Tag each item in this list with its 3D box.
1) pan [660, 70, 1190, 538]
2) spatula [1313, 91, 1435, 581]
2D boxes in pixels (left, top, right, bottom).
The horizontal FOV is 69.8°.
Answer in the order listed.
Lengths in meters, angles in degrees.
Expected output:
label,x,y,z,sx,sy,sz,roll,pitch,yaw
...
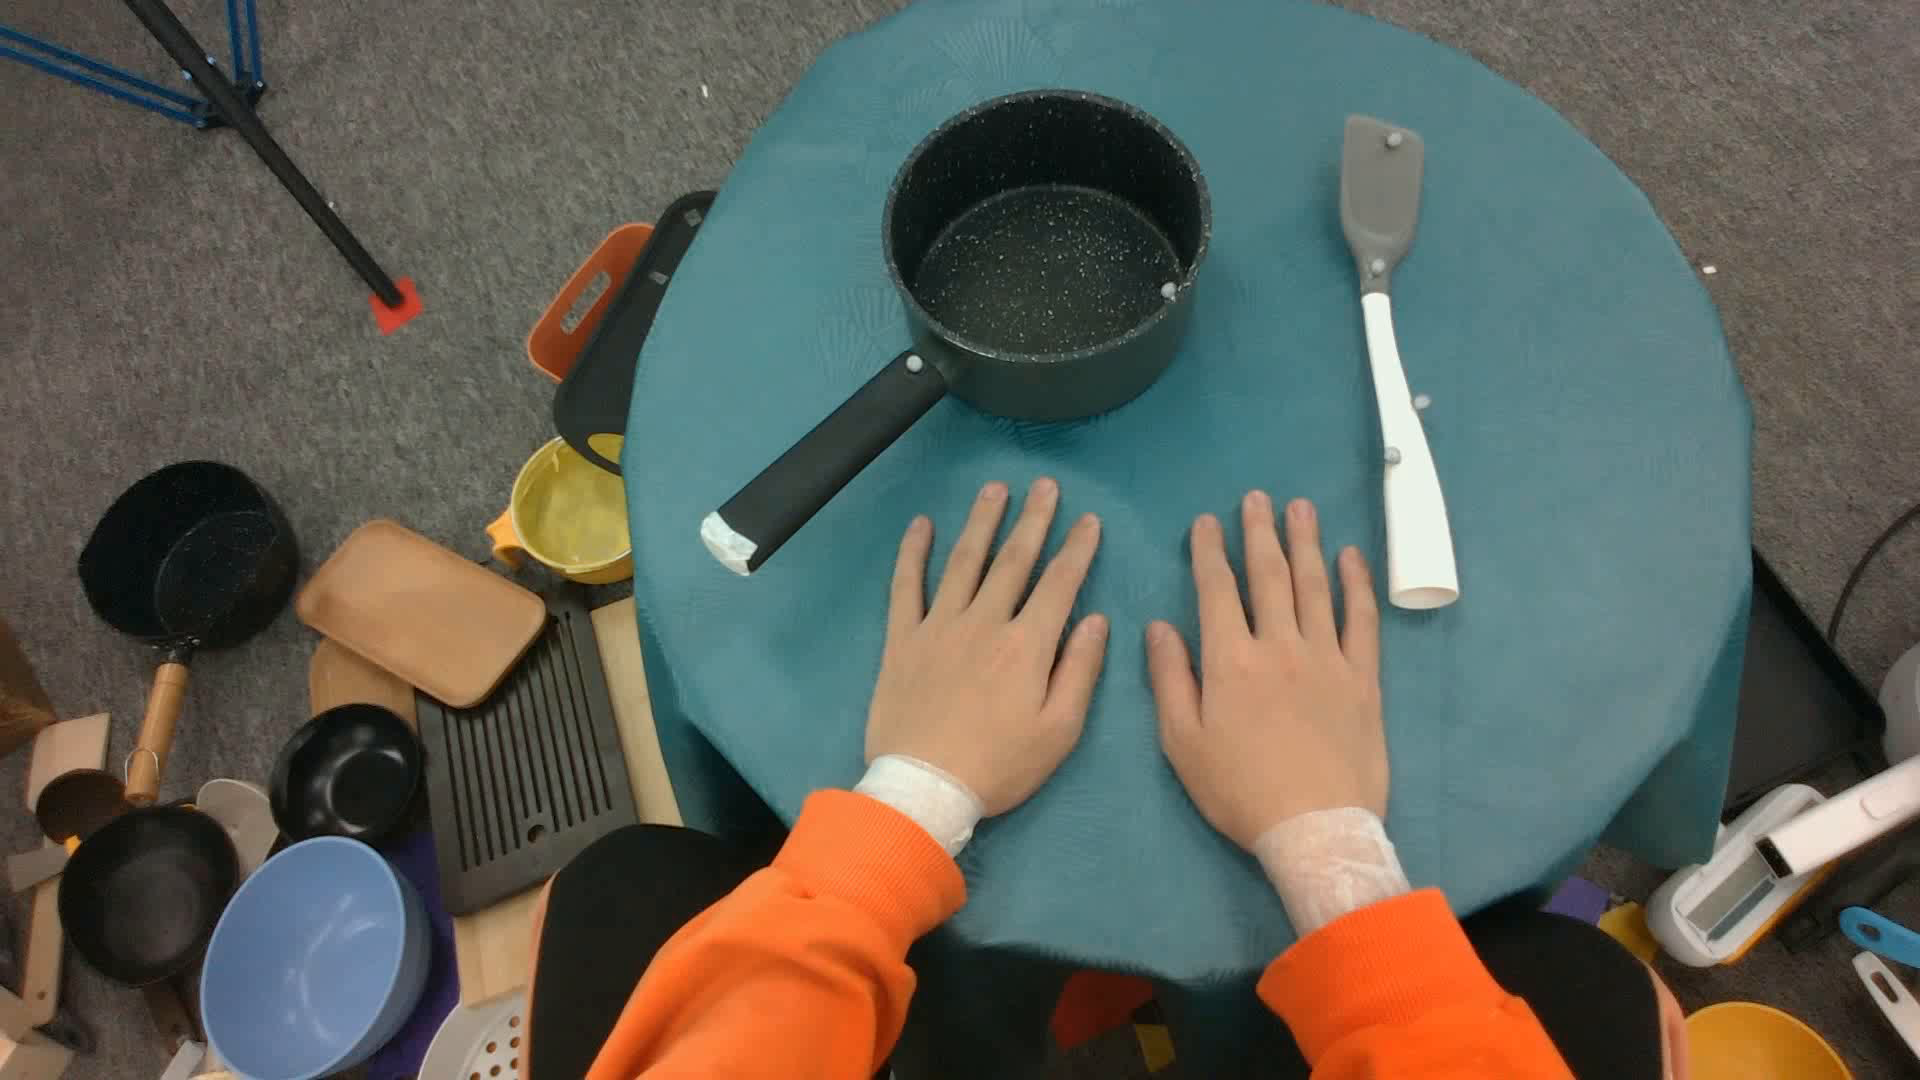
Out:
label,x,y,z,sx,sy,sz,roll,pitch,yaw
pan,-0.018,-0.108,0.722,0.172,0.086,0.329,38,72,20
spatula,0.221,-0.117,0.736,0.059,0.032,0.288,9,66,-17
